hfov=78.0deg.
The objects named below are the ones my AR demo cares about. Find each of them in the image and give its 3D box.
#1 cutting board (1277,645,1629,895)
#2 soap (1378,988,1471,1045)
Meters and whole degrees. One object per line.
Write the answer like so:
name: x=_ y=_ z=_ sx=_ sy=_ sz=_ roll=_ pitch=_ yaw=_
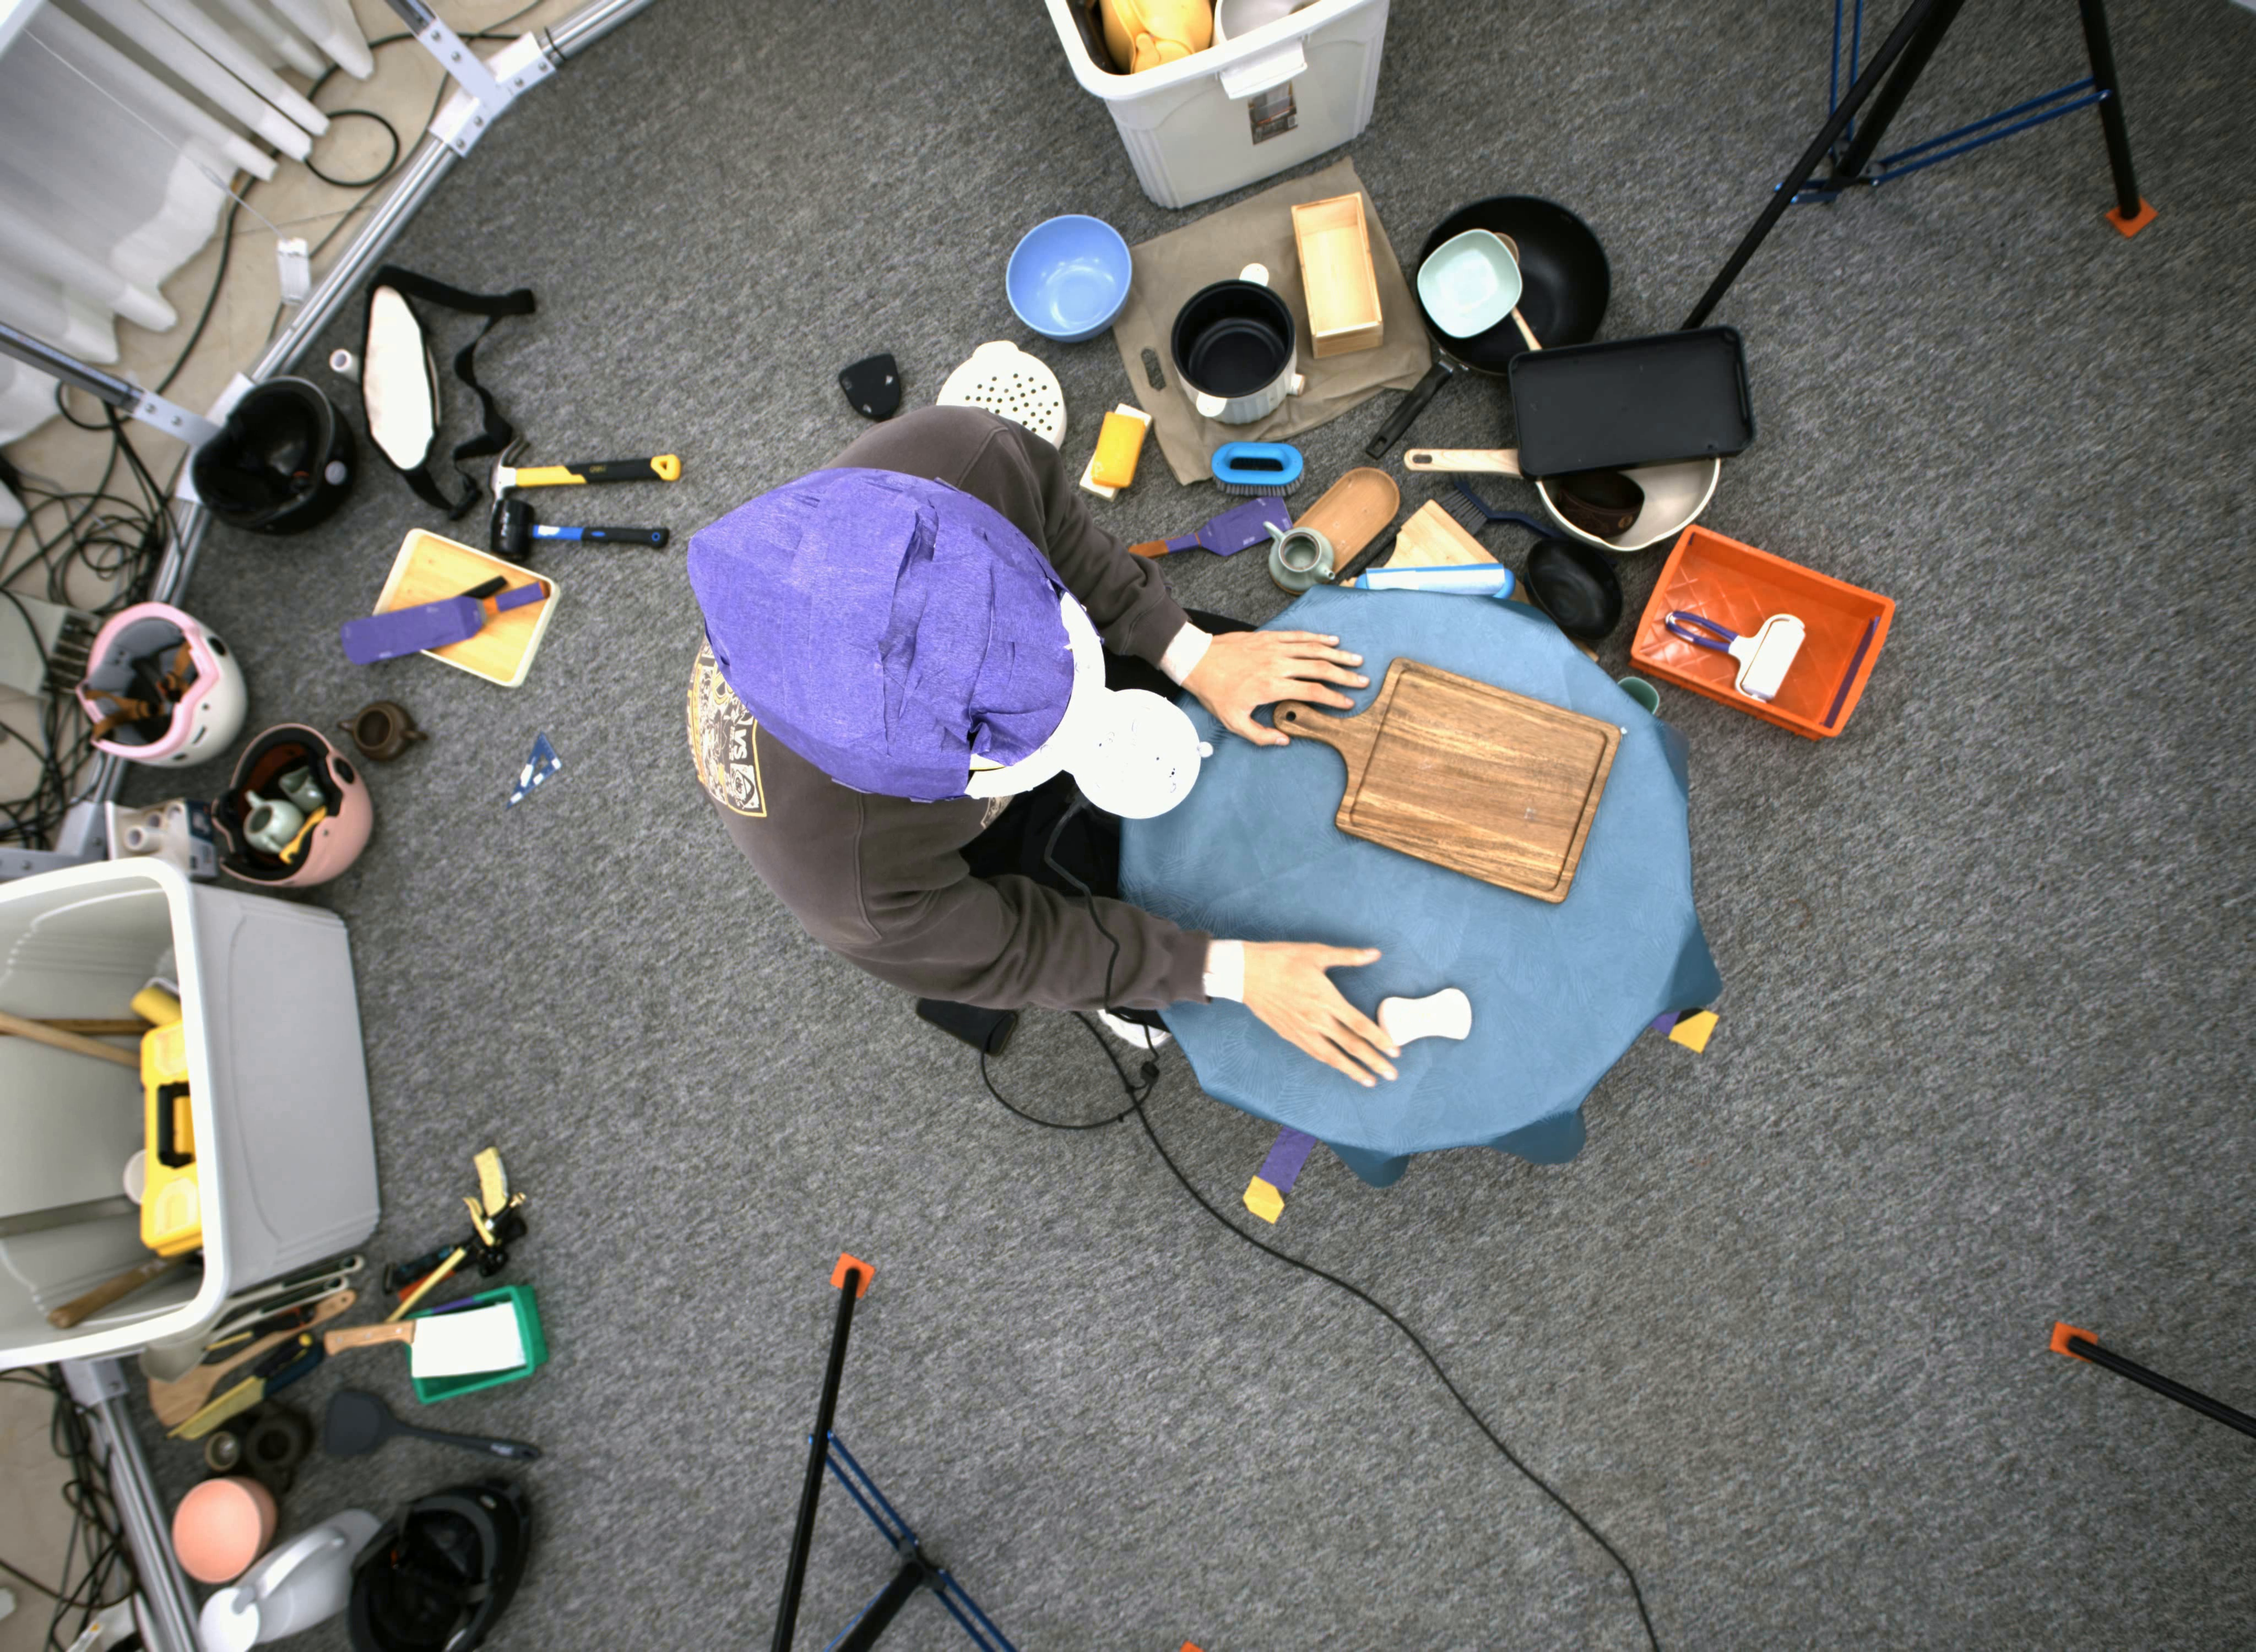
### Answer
cutting board: x=0.325 y=-0.079 z=1.444 sx=0.352 sy=0.023 sz=0.201 roll=20 pitch=91 yaw=11
soap: x=0.306 y=0.195 z=1.431 sx=0.095 sy=0.030 sz=0.050 roll=-9 pitch=84 yaw=11
